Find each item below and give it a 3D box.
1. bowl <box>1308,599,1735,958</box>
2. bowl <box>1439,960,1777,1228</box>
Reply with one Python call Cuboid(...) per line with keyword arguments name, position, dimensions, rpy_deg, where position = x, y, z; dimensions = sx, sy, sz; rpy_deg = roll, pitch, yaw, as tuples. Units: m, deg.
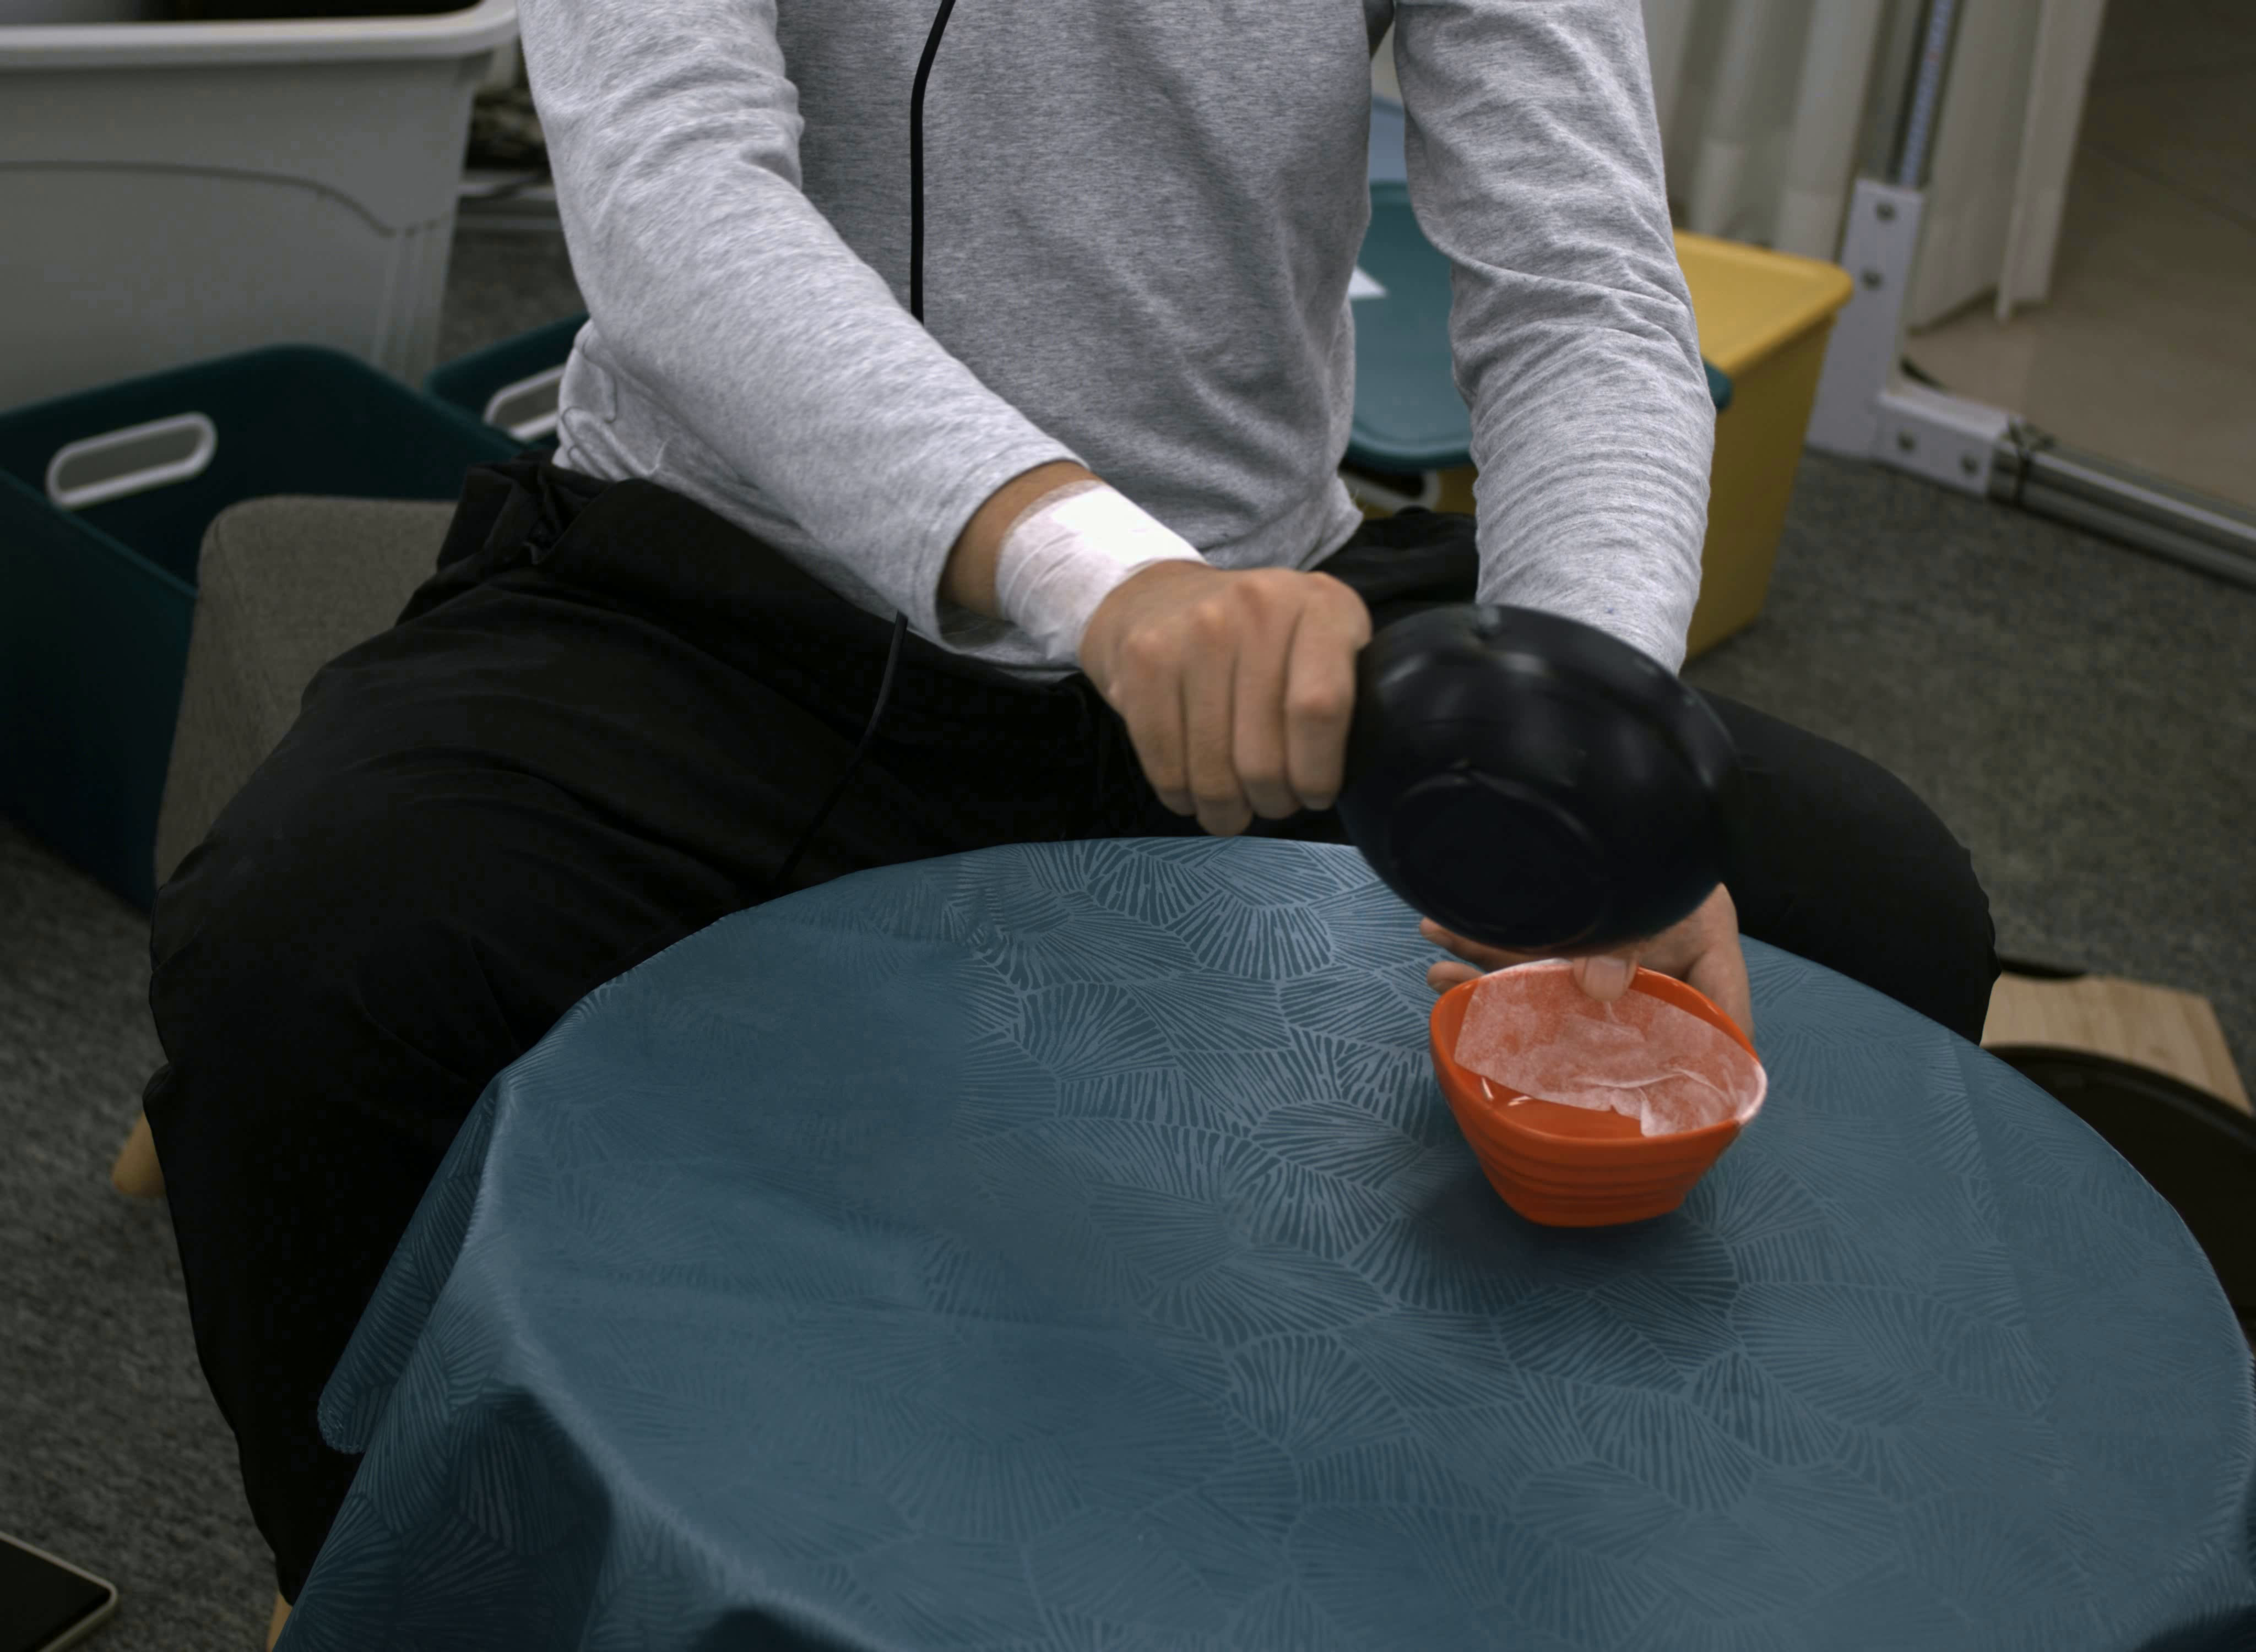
Cuboid(name="bowl", position=(0.118, -0.004, 1.674), dimensions=(0.140, 0.139, 0.050), rpy_deg=(14, 47, 13))
Cuboid(name="bowl", position=(0.161, 0.096, 1.814), dimensions=(0.118, 0.051, 0.120), rpy_deg=(3, 32, -2))
